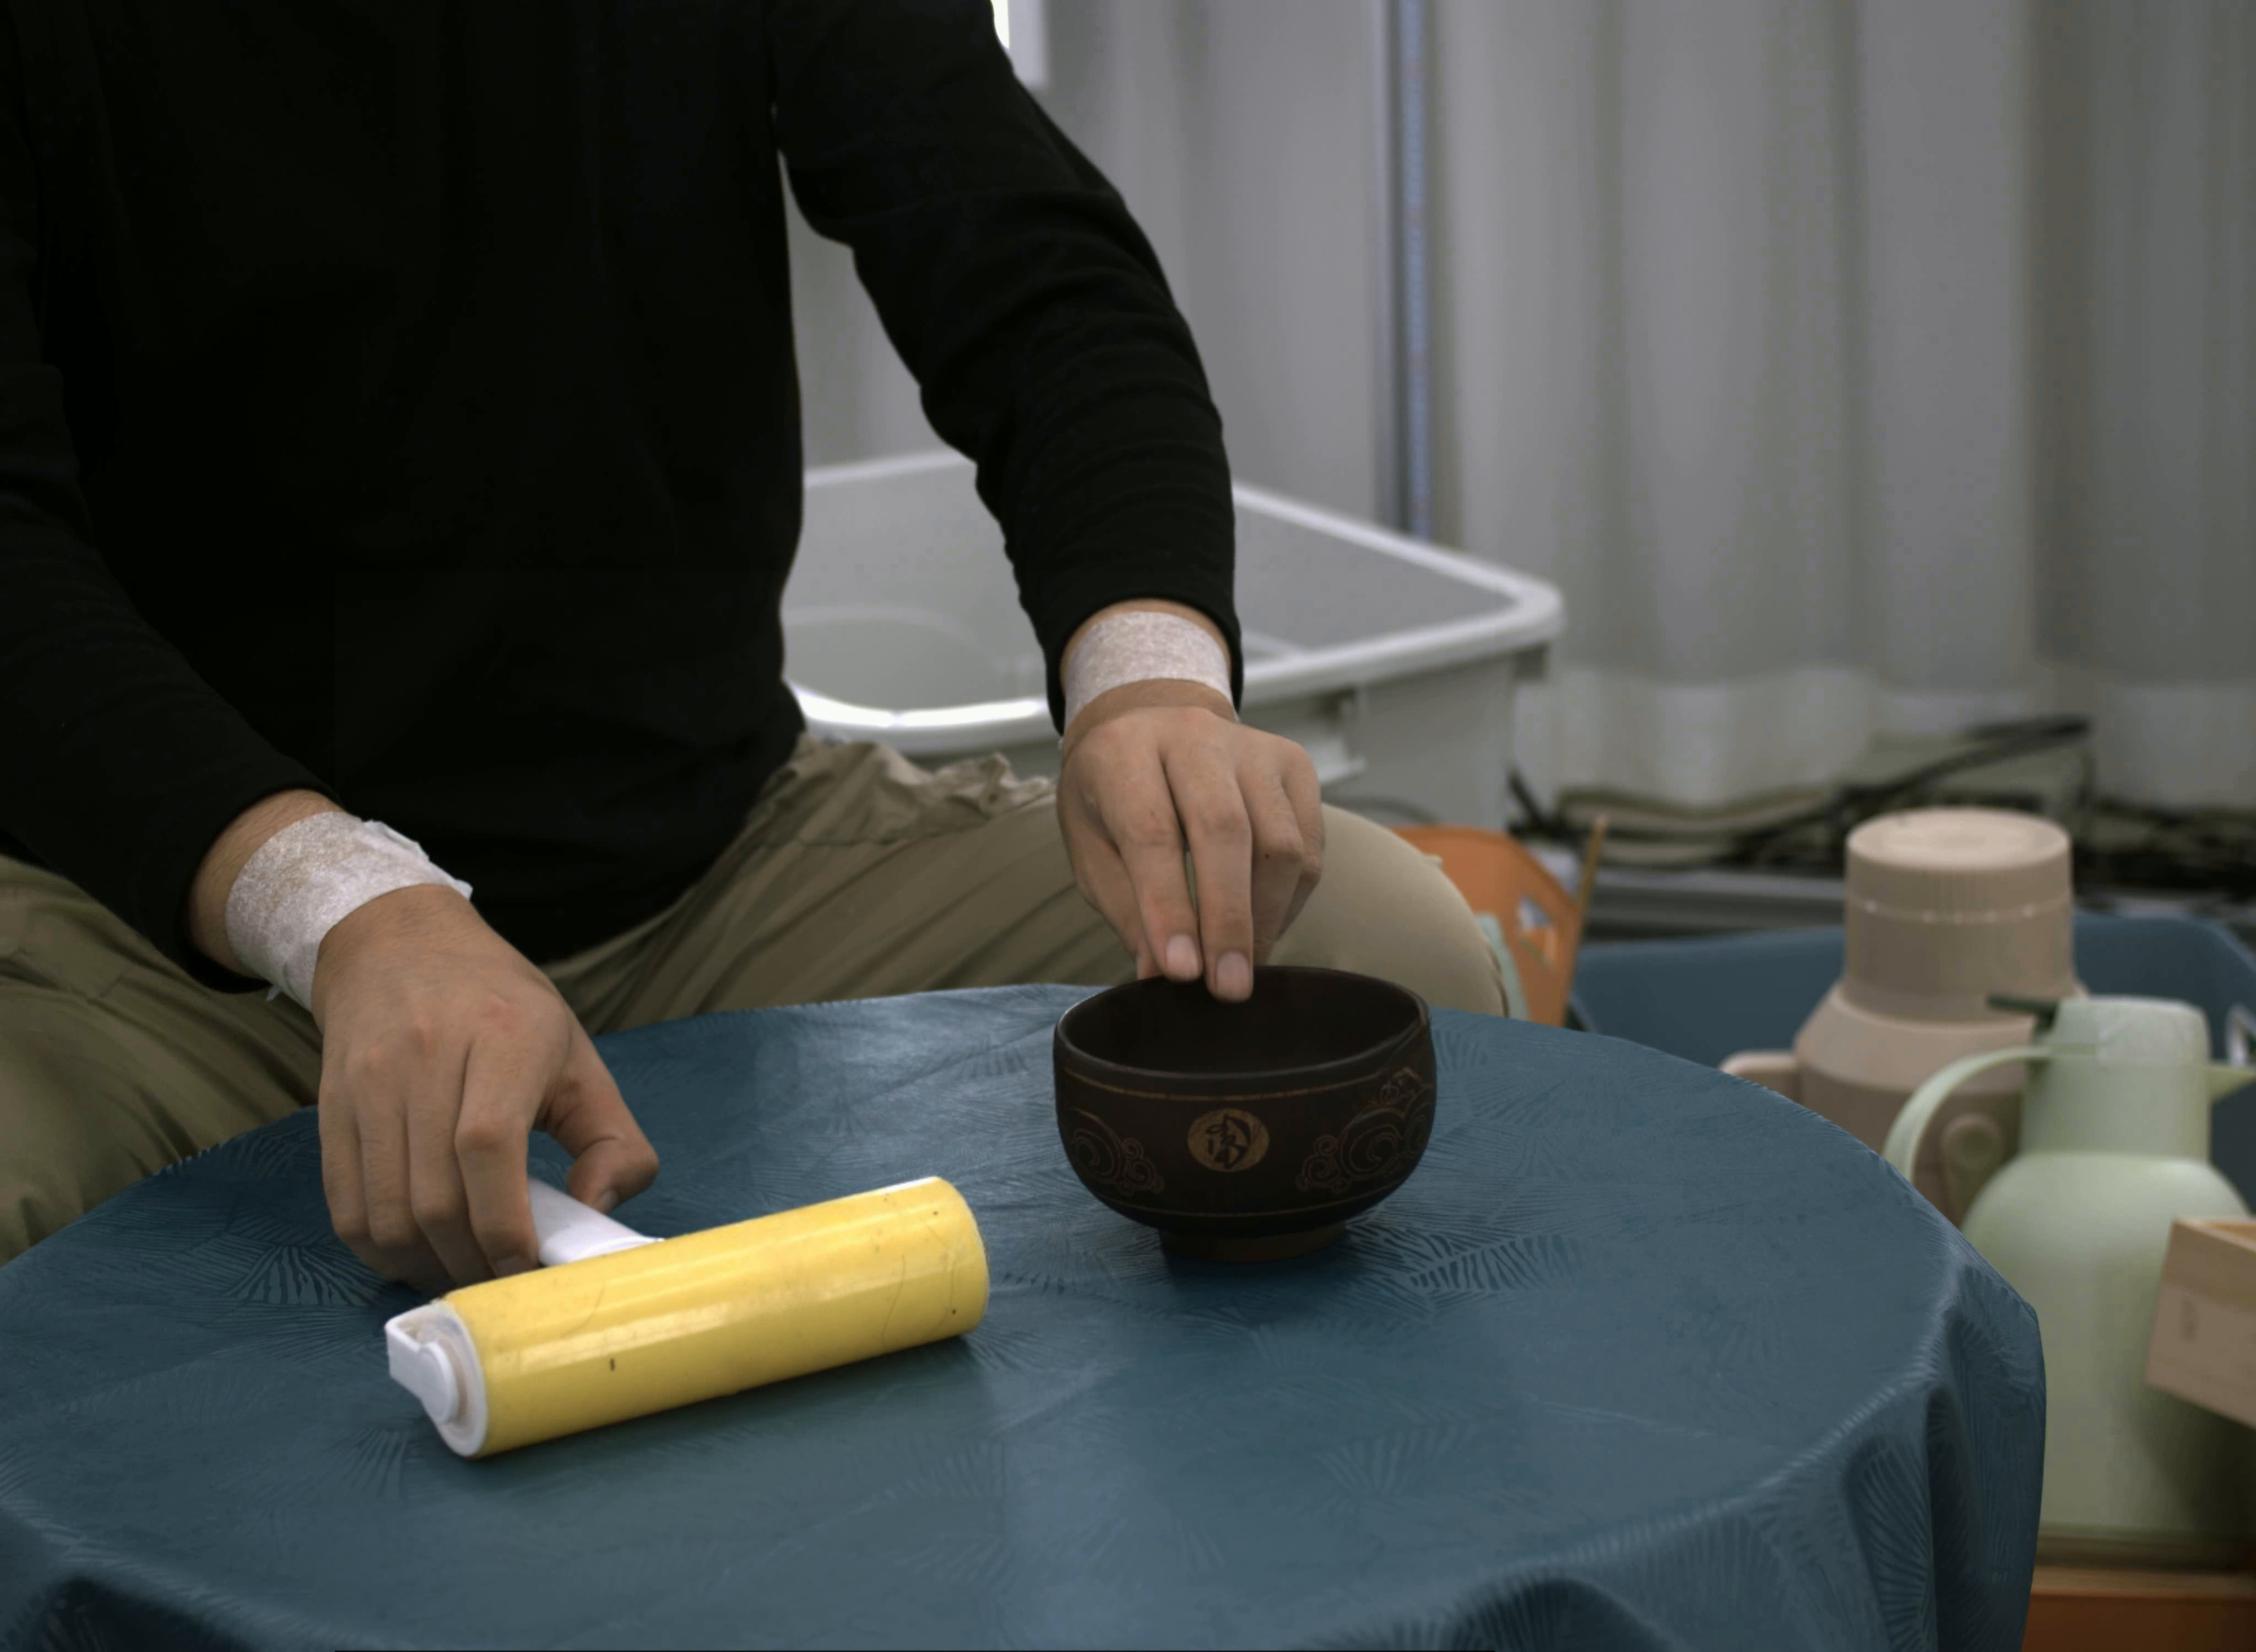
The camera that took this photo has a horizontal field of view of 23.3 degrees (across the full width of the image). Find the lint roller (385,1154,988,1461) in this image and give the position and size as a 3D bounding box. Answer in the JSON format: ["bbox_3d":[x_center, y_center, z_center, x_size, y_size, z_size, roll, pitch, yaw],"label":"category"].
[{"bbox_3d":[-0.160,0.119,1.611,0.173,0.051,0.194,-12,25,-31],"label":"lint roller"}]

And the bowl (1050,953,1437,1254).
[{"bbox_3d":[0.035,0.088,1.662,0.117,0.069,0.119,-2,15,0],"label":"bowl"}]
